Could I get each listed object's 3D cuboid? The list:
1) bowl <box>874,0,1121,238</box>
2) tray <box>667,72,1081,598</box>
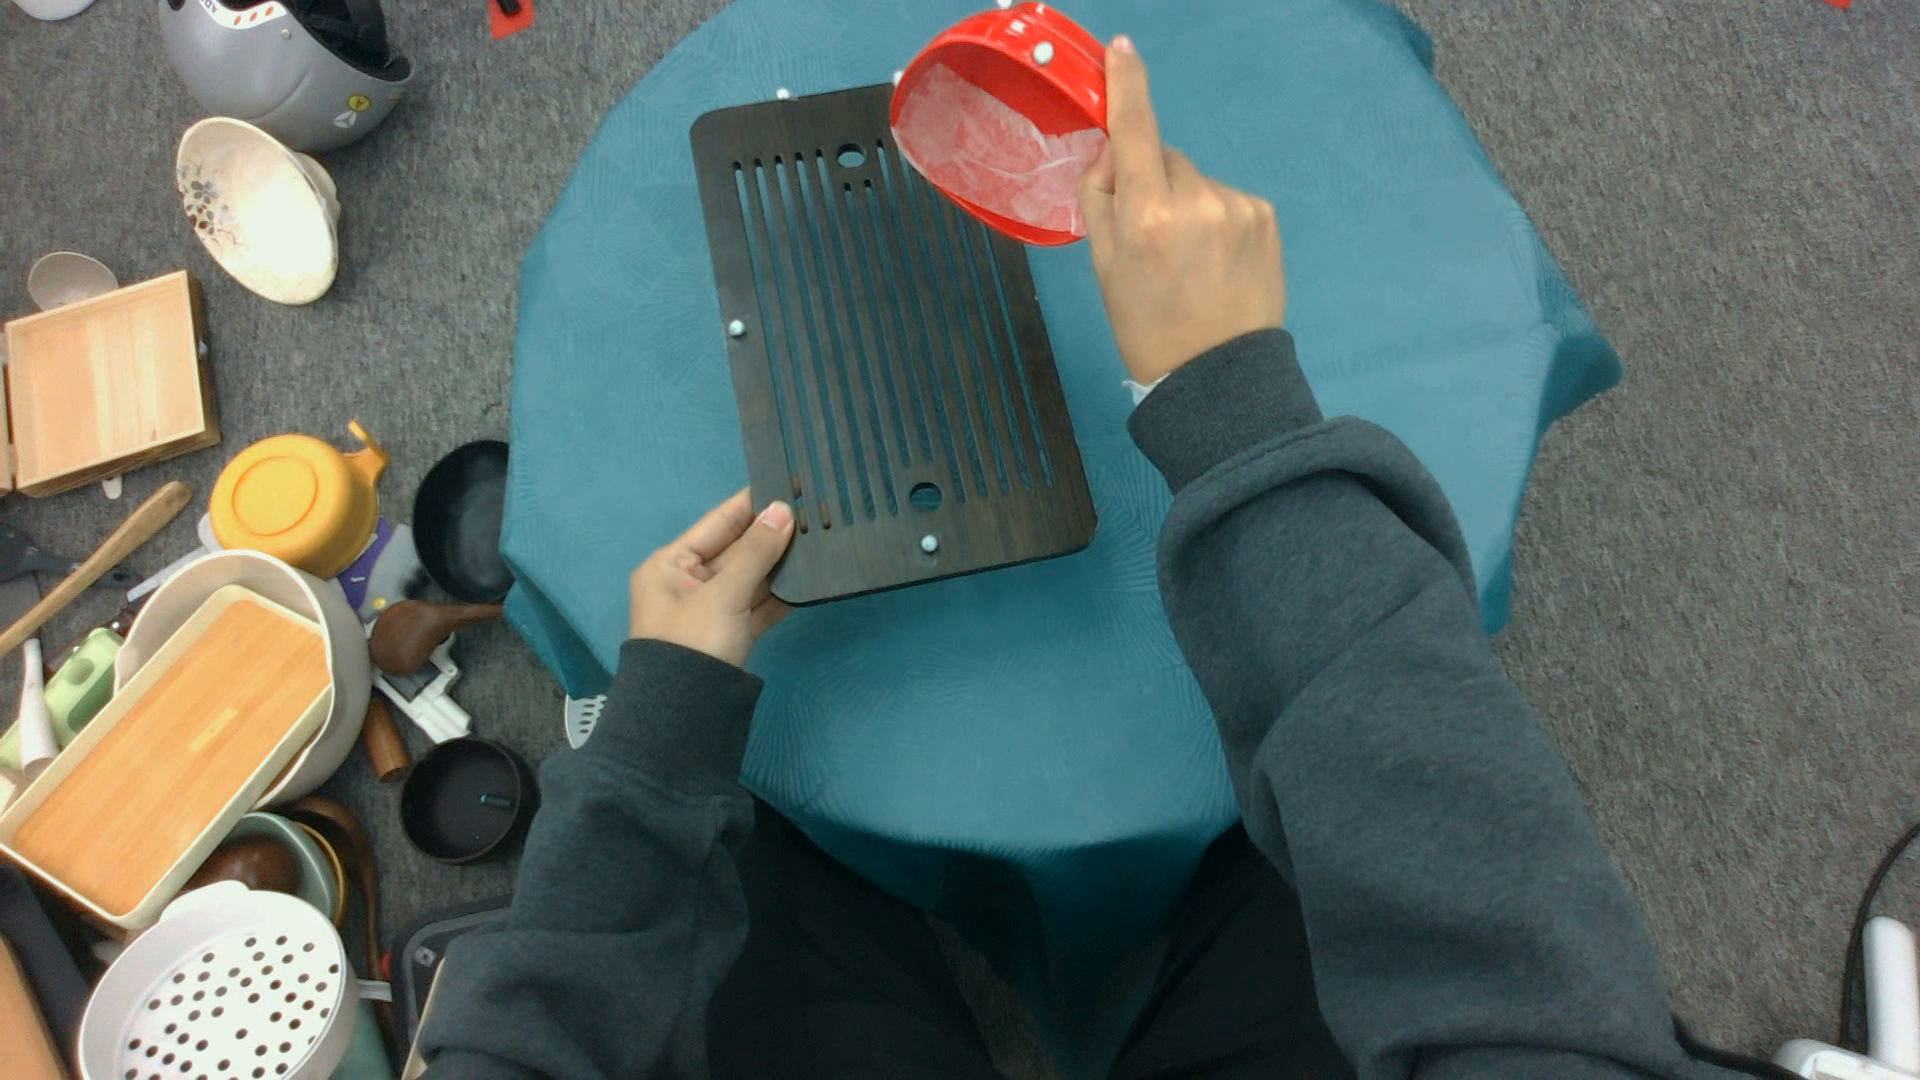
[{"bbox_3d":[0.024,-0.195,0.617,0.119,0.118,0.051,23,65,12],"label":"bowl"},{"bbox_3d":[-0.053,-0.122,0.741,0.170,0.018,0.306,-11,68,-6],"label":"tray"}]
